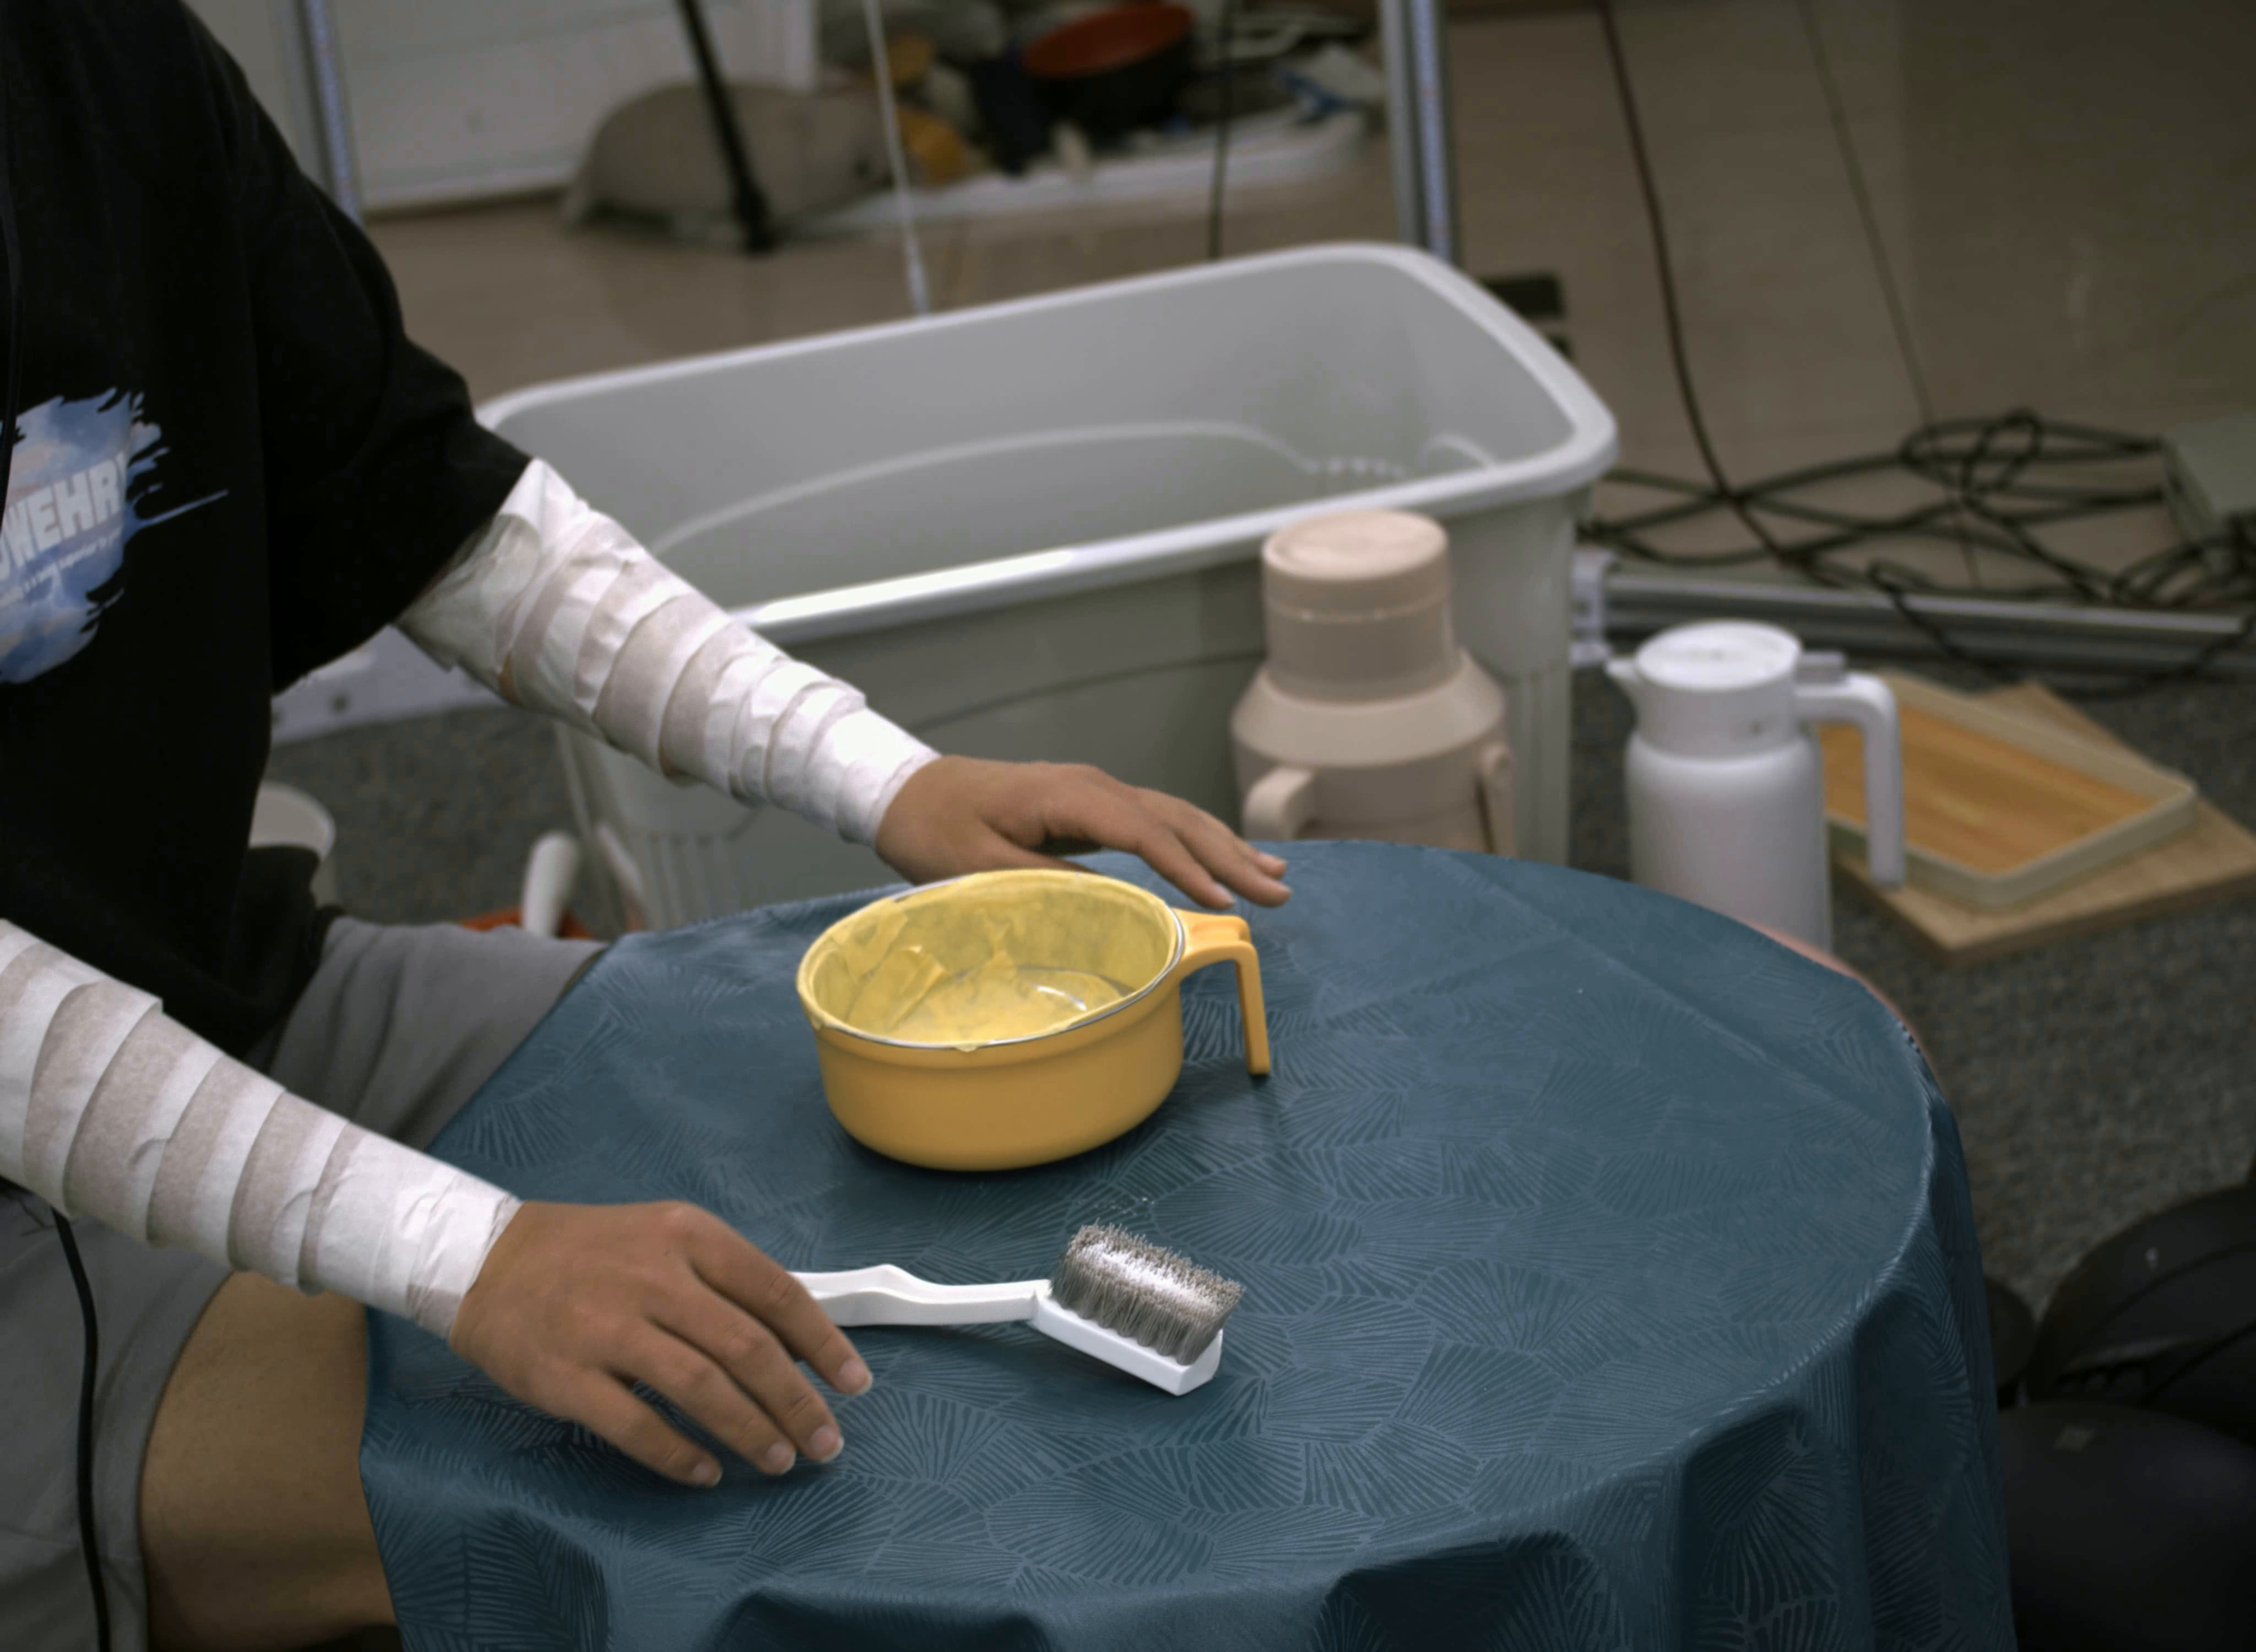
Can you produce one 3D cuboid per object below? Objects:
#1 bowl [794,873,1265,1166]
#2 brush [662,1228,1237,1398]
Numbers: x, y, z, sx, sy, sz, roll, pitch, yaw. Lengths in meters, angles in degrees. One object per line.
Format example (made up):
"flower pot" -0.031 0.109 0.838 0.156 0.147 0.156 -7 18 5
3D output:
"bowl" -0.037 0.077 2.208 0.179 0.075 0.151 -8 20 -6
"brush" -0.070 0.161 2.058 0.242 0.051 0.034 9 31 30
